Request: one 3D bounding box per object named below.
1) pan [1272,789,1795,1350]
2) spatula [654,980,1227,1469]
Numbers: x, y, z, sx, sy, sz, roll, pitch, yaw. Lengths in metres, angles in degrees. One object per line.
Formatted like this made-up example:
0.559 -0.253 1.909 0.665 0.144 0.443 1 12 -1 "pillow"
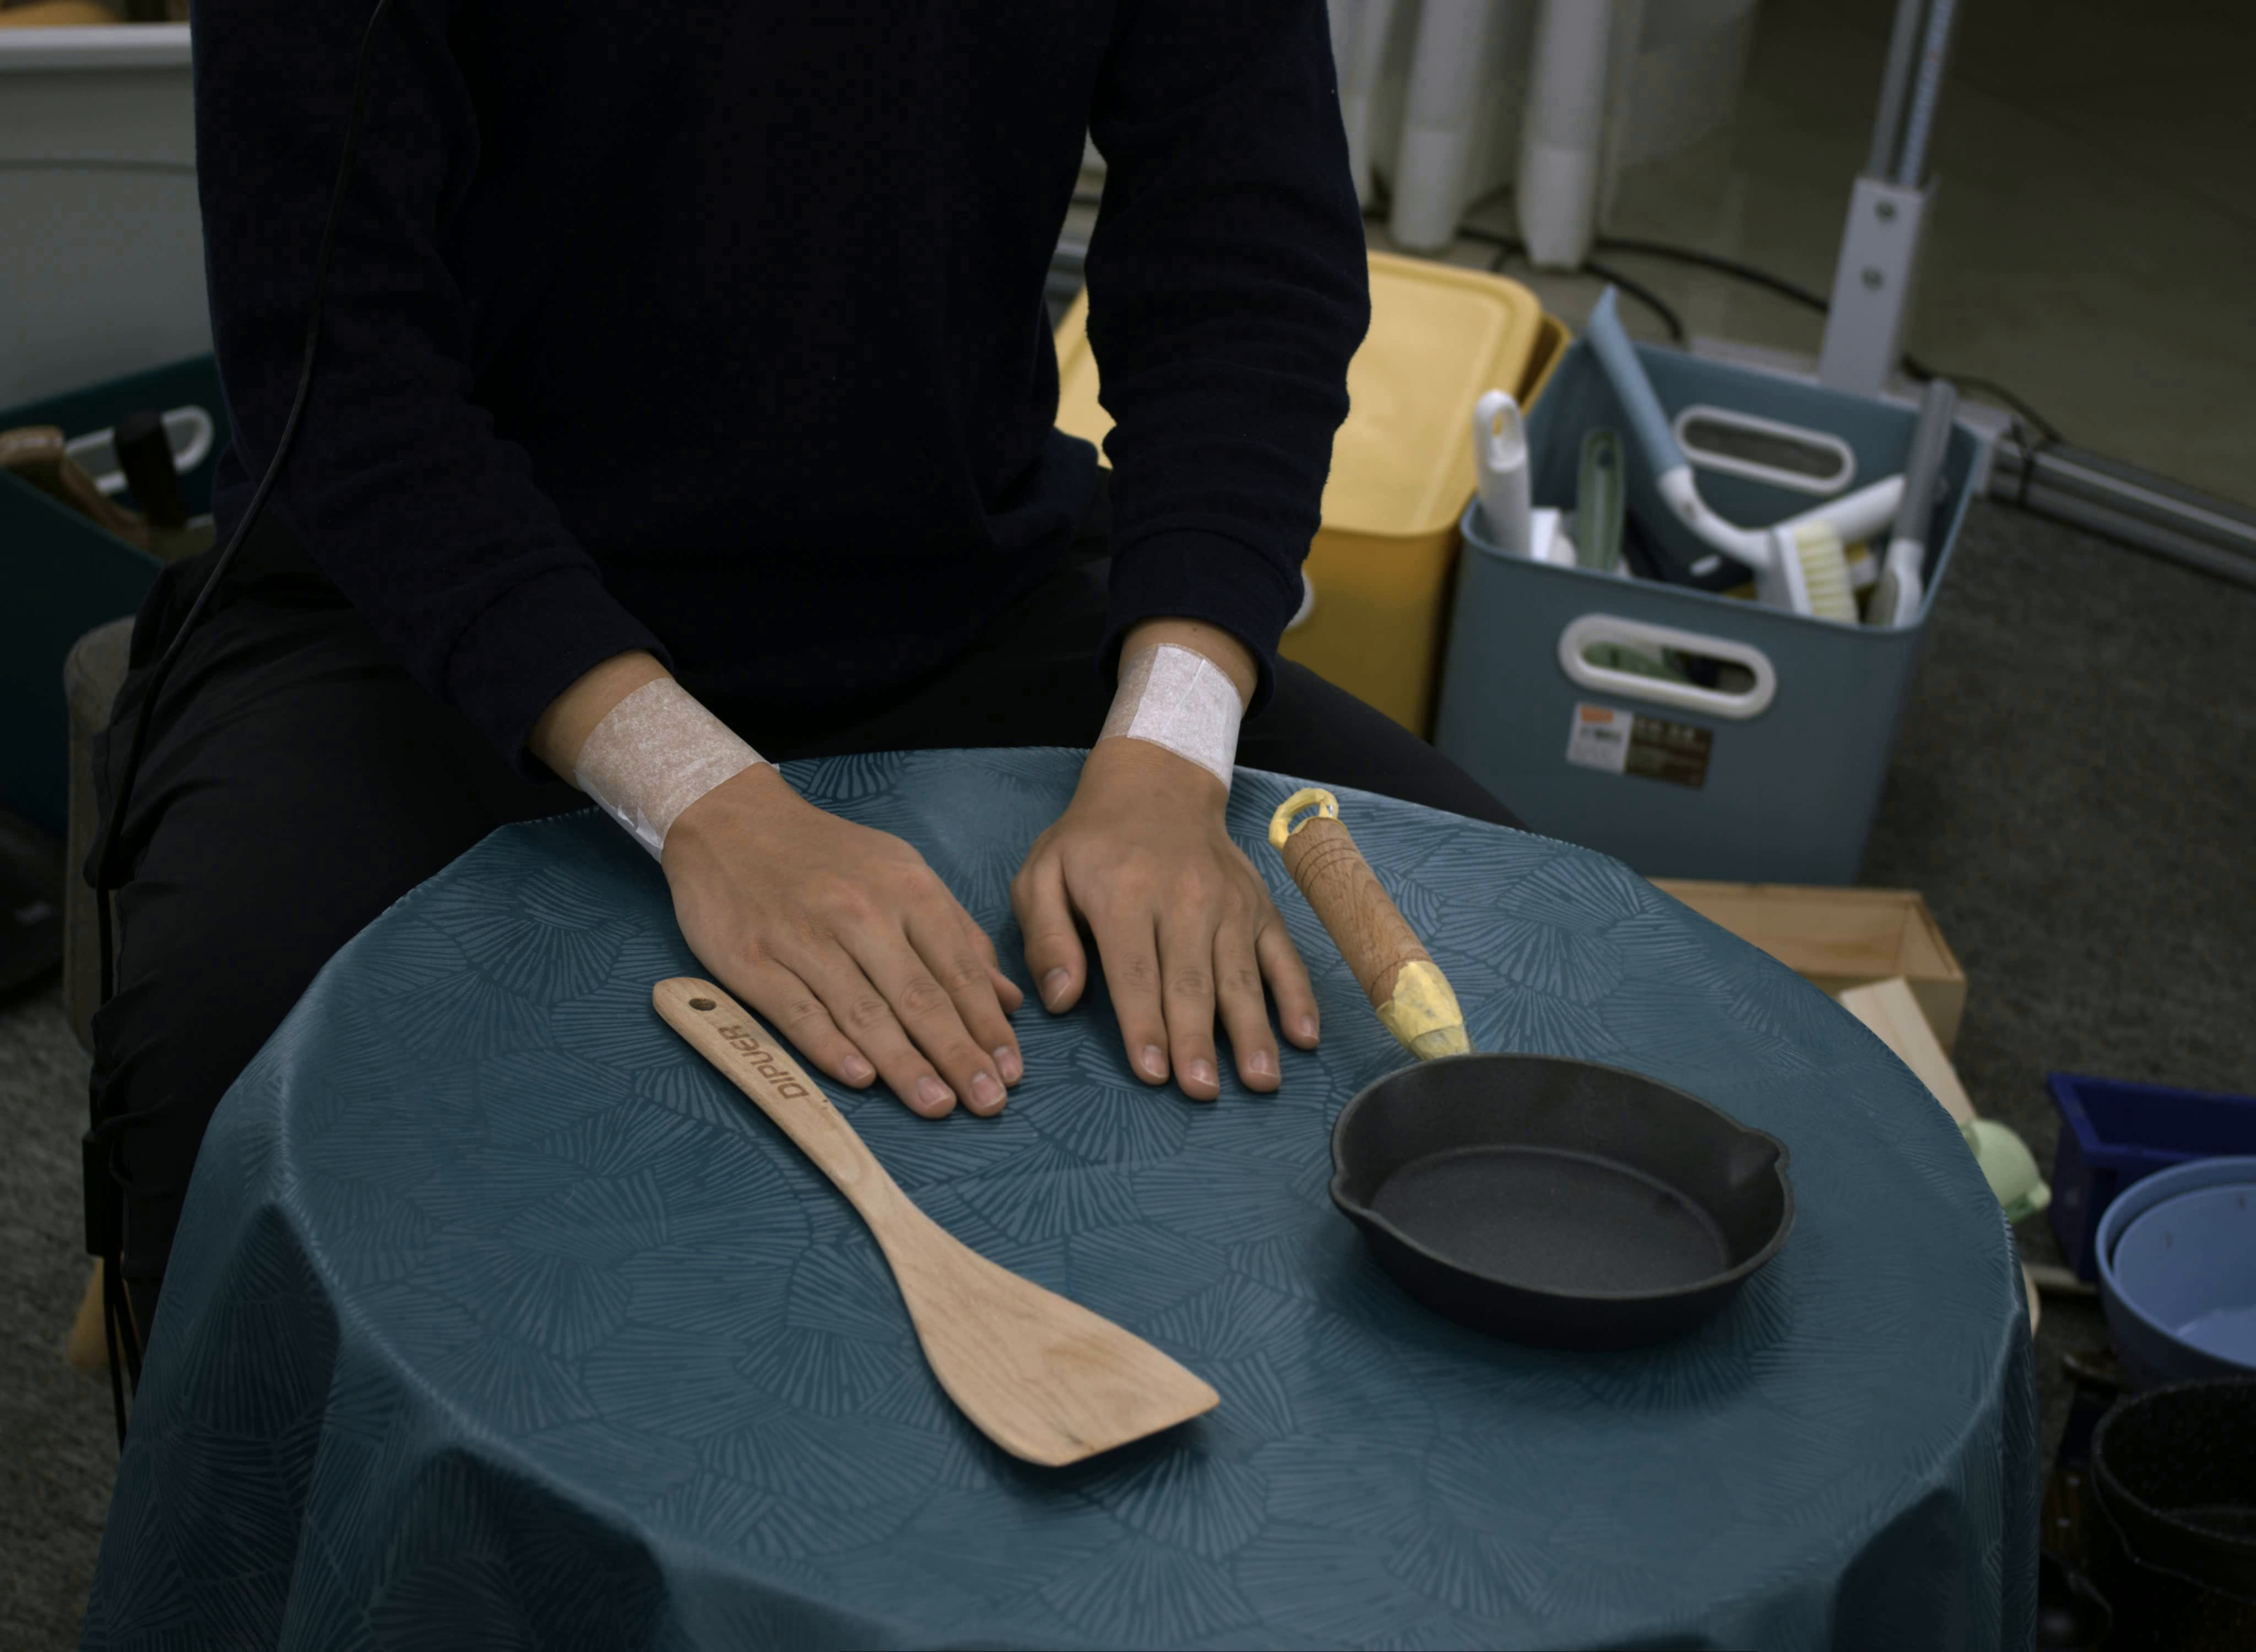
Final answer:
0.117 0.082 1.855 0.168 0.049 0.327 -4 30 -20 "pan"
-0.077 0.125 1.764 0.079 0.016 0.330 -9 31 -30 "spatula"
